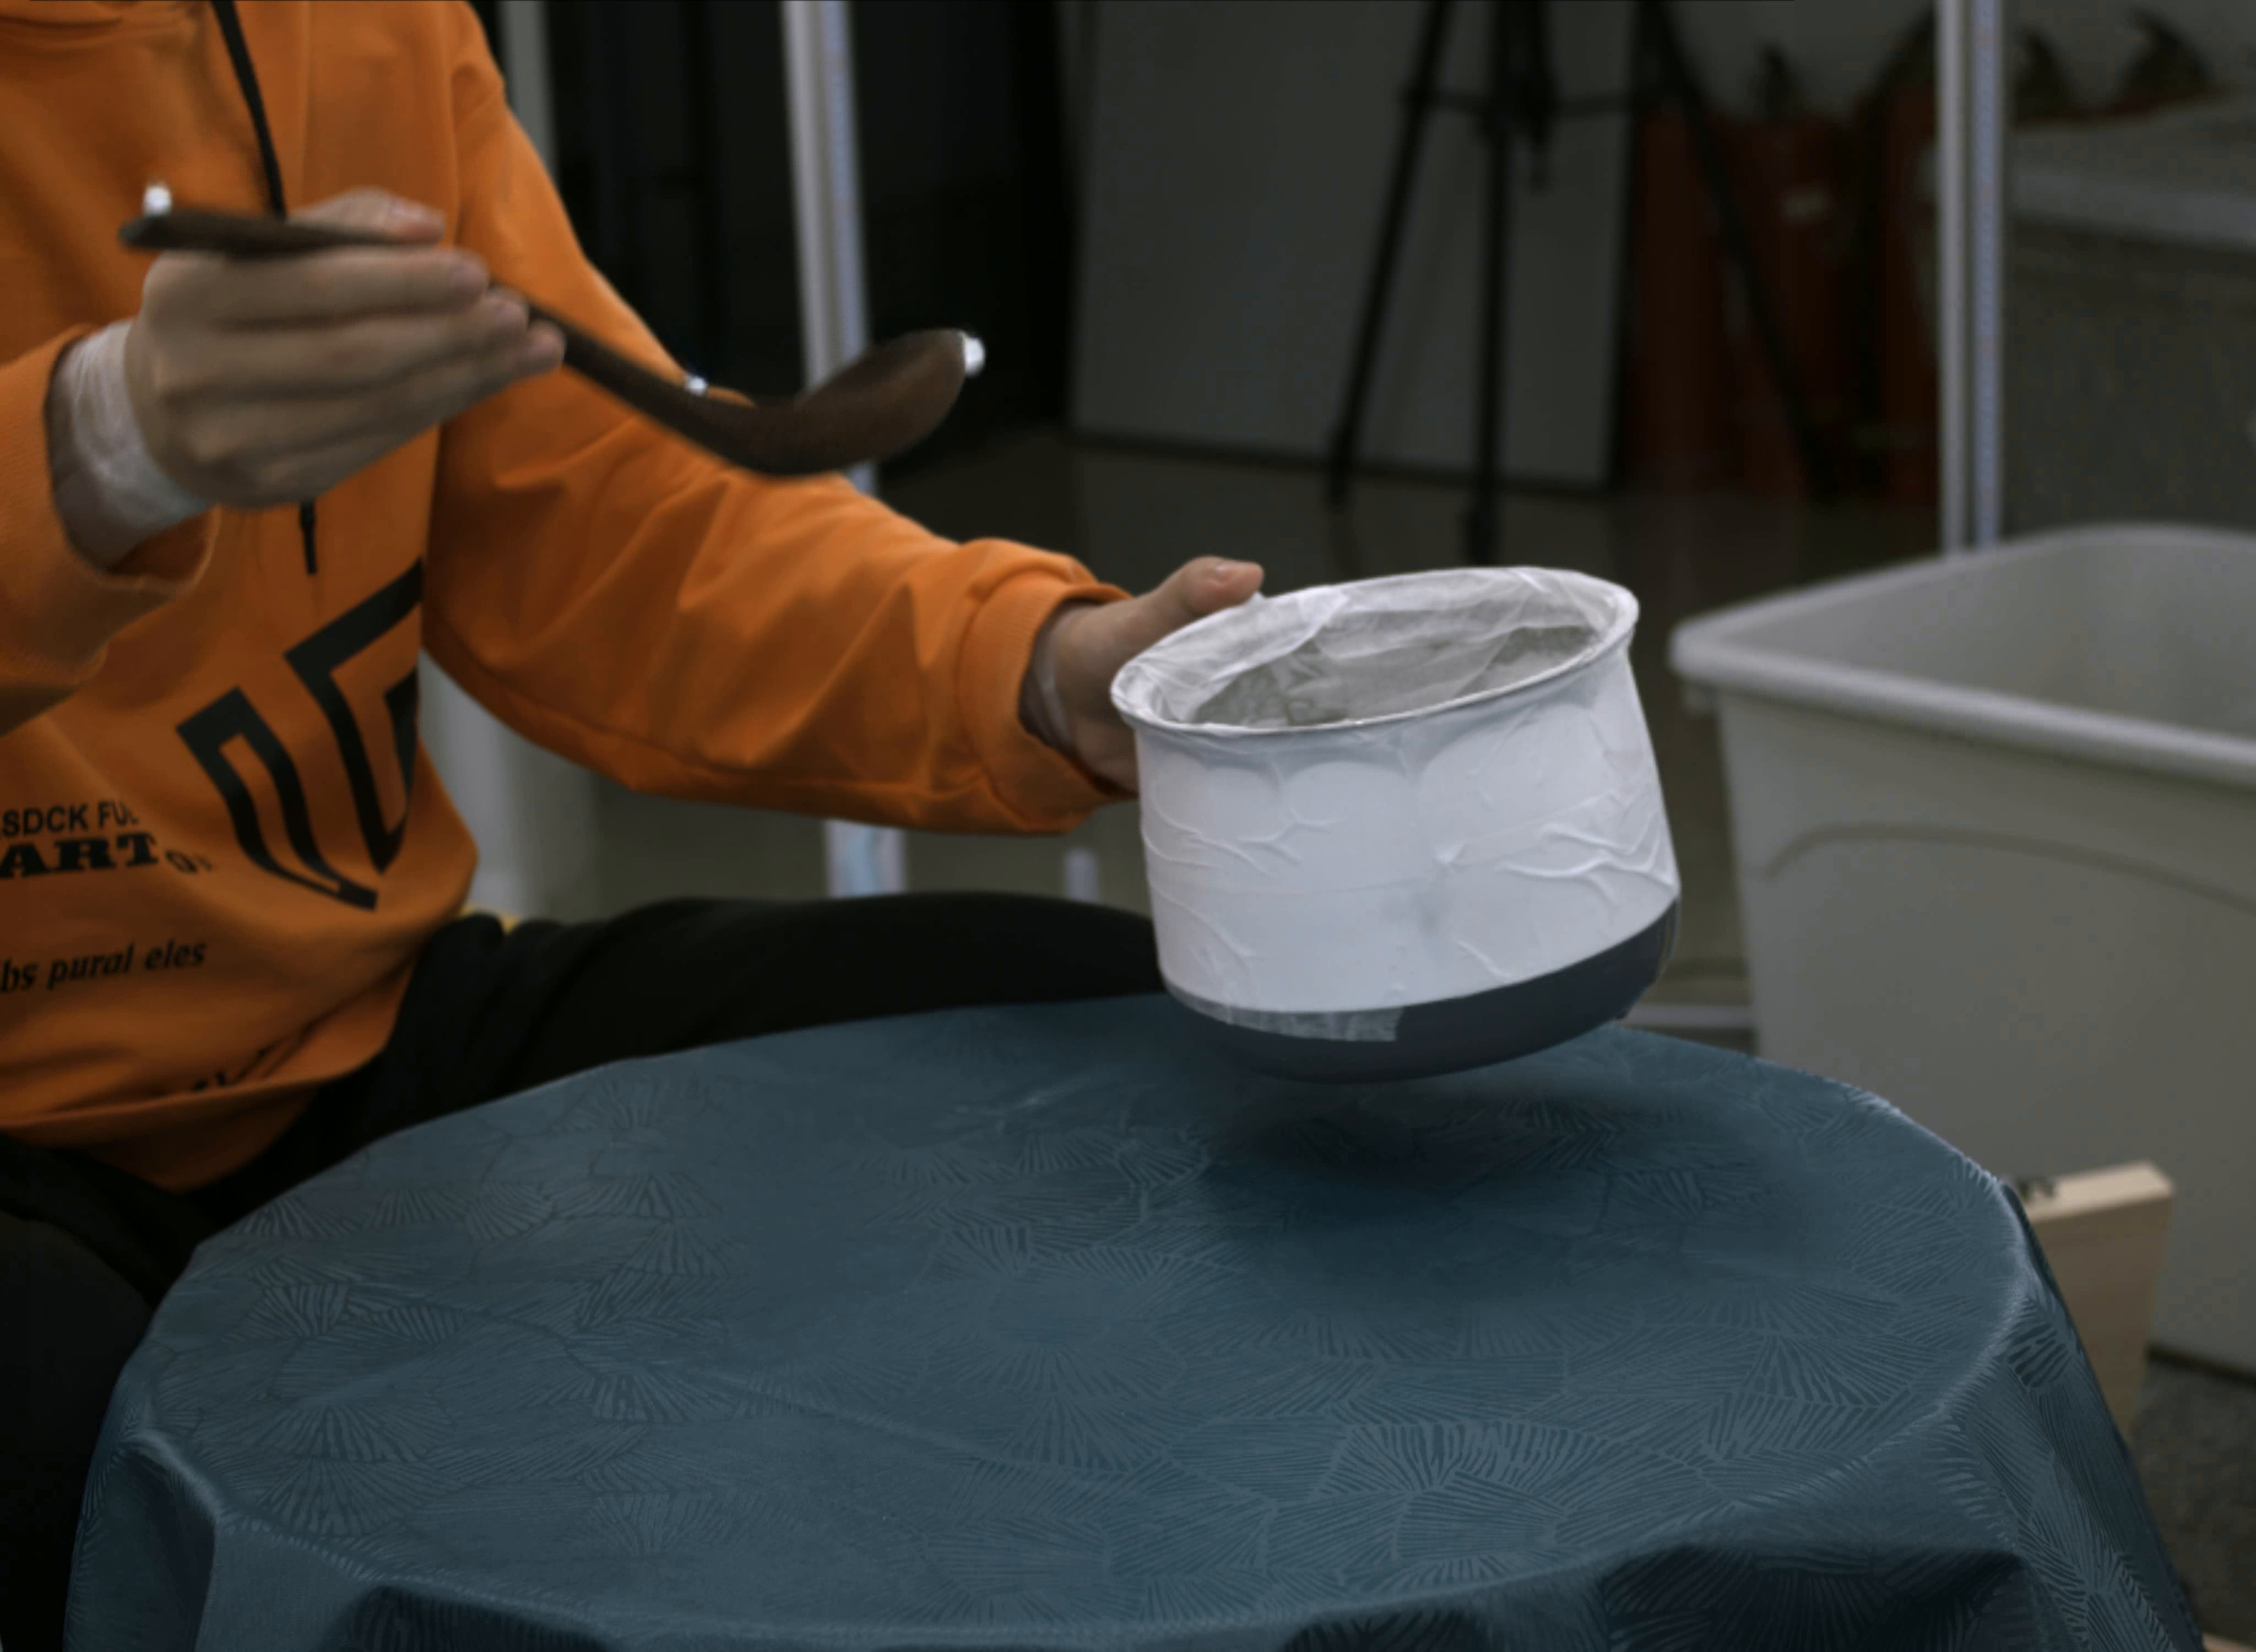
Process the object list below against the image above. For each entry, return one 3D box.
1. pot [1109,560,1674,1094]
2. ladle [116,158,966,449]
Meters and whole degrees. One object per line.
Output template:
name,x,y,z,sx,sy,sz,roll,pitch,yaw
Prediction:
pot,0.077,-0.005,1.808,0.175,0.138,0.236,-16,17,-22
ladle,-0.167,-0.173,1.596,0.268,0.072,0.077,20,-24,-32
